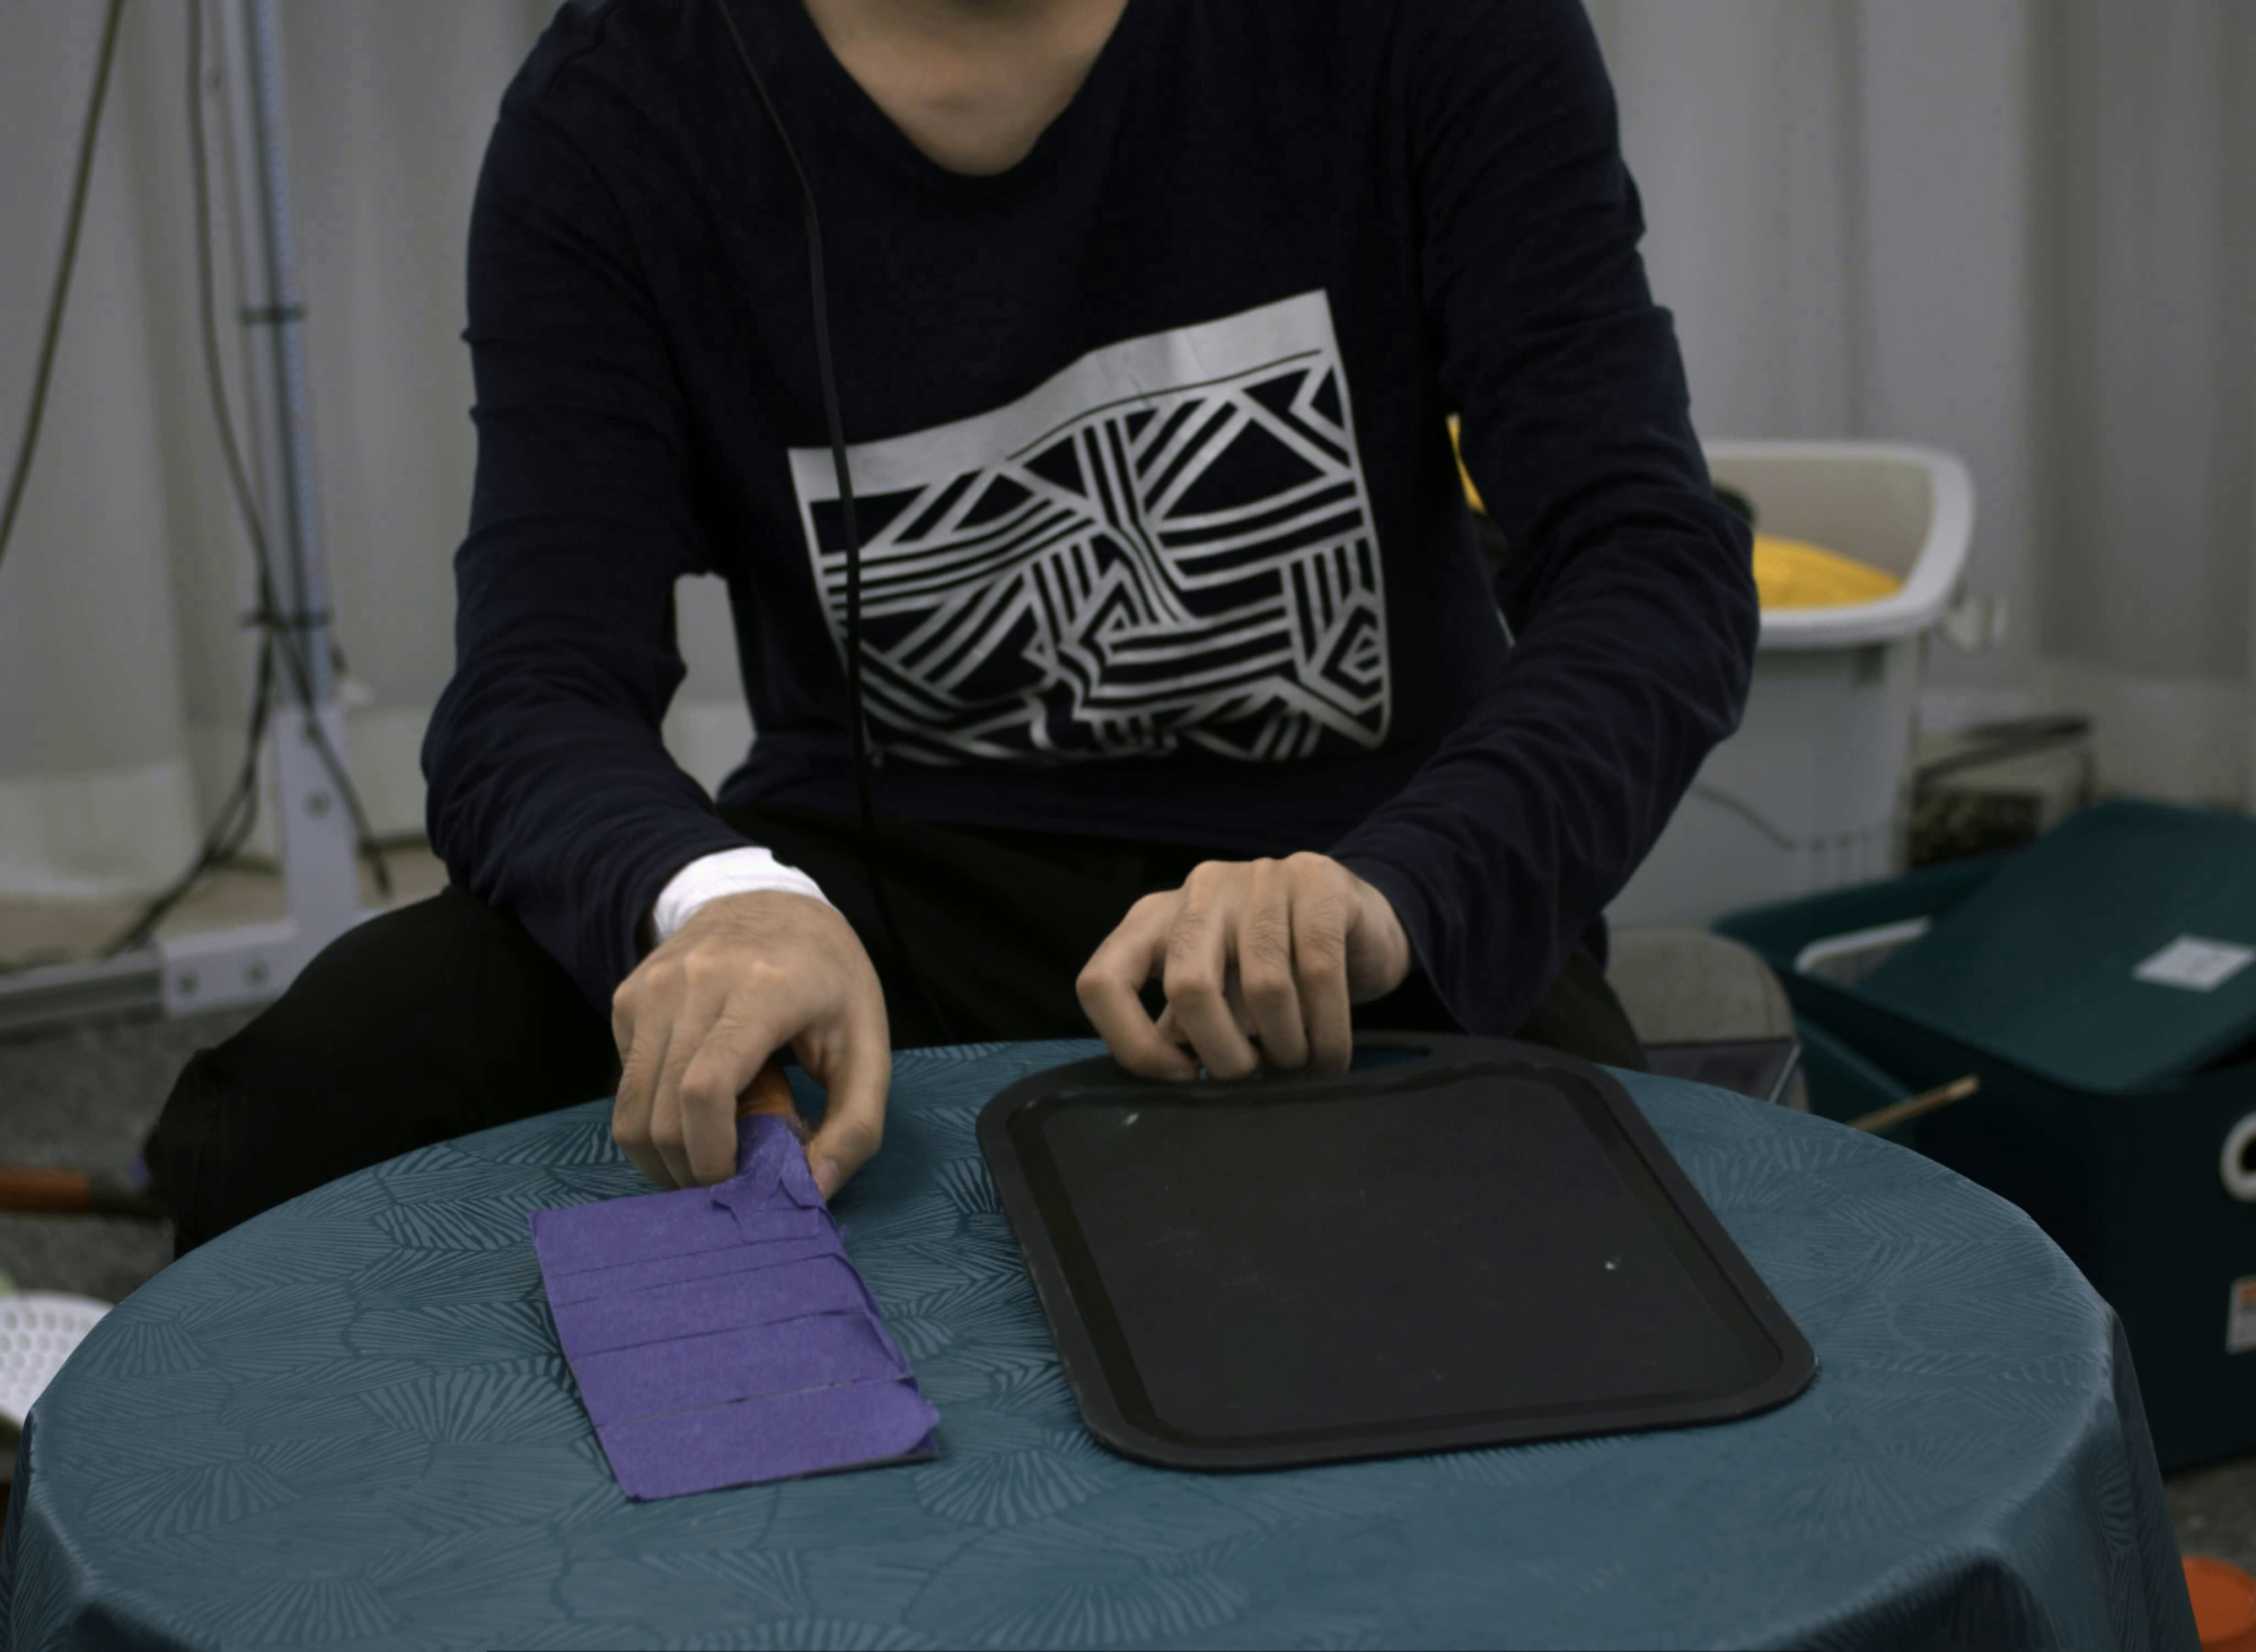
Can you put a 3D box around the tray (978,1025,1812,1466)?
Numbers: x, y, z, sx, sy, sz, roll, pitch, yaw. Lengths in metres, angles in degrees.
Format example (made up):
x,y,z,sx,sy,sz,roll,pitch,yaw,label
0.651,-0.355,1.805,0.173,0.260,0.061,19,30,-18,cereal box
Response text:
x,y,z,sx,sy,sz,roll,pitch,yaw,label
0.070,0.117,1.640,0.210,0.010,0.328,-4,19,-8,tray

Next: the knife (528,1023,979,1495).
x,y,z,sx,sy,sz,roll,pitch,yaw,label
-0.128,0.125,1.632,0.103,0.032,0.318,-7,17,-13,knife
